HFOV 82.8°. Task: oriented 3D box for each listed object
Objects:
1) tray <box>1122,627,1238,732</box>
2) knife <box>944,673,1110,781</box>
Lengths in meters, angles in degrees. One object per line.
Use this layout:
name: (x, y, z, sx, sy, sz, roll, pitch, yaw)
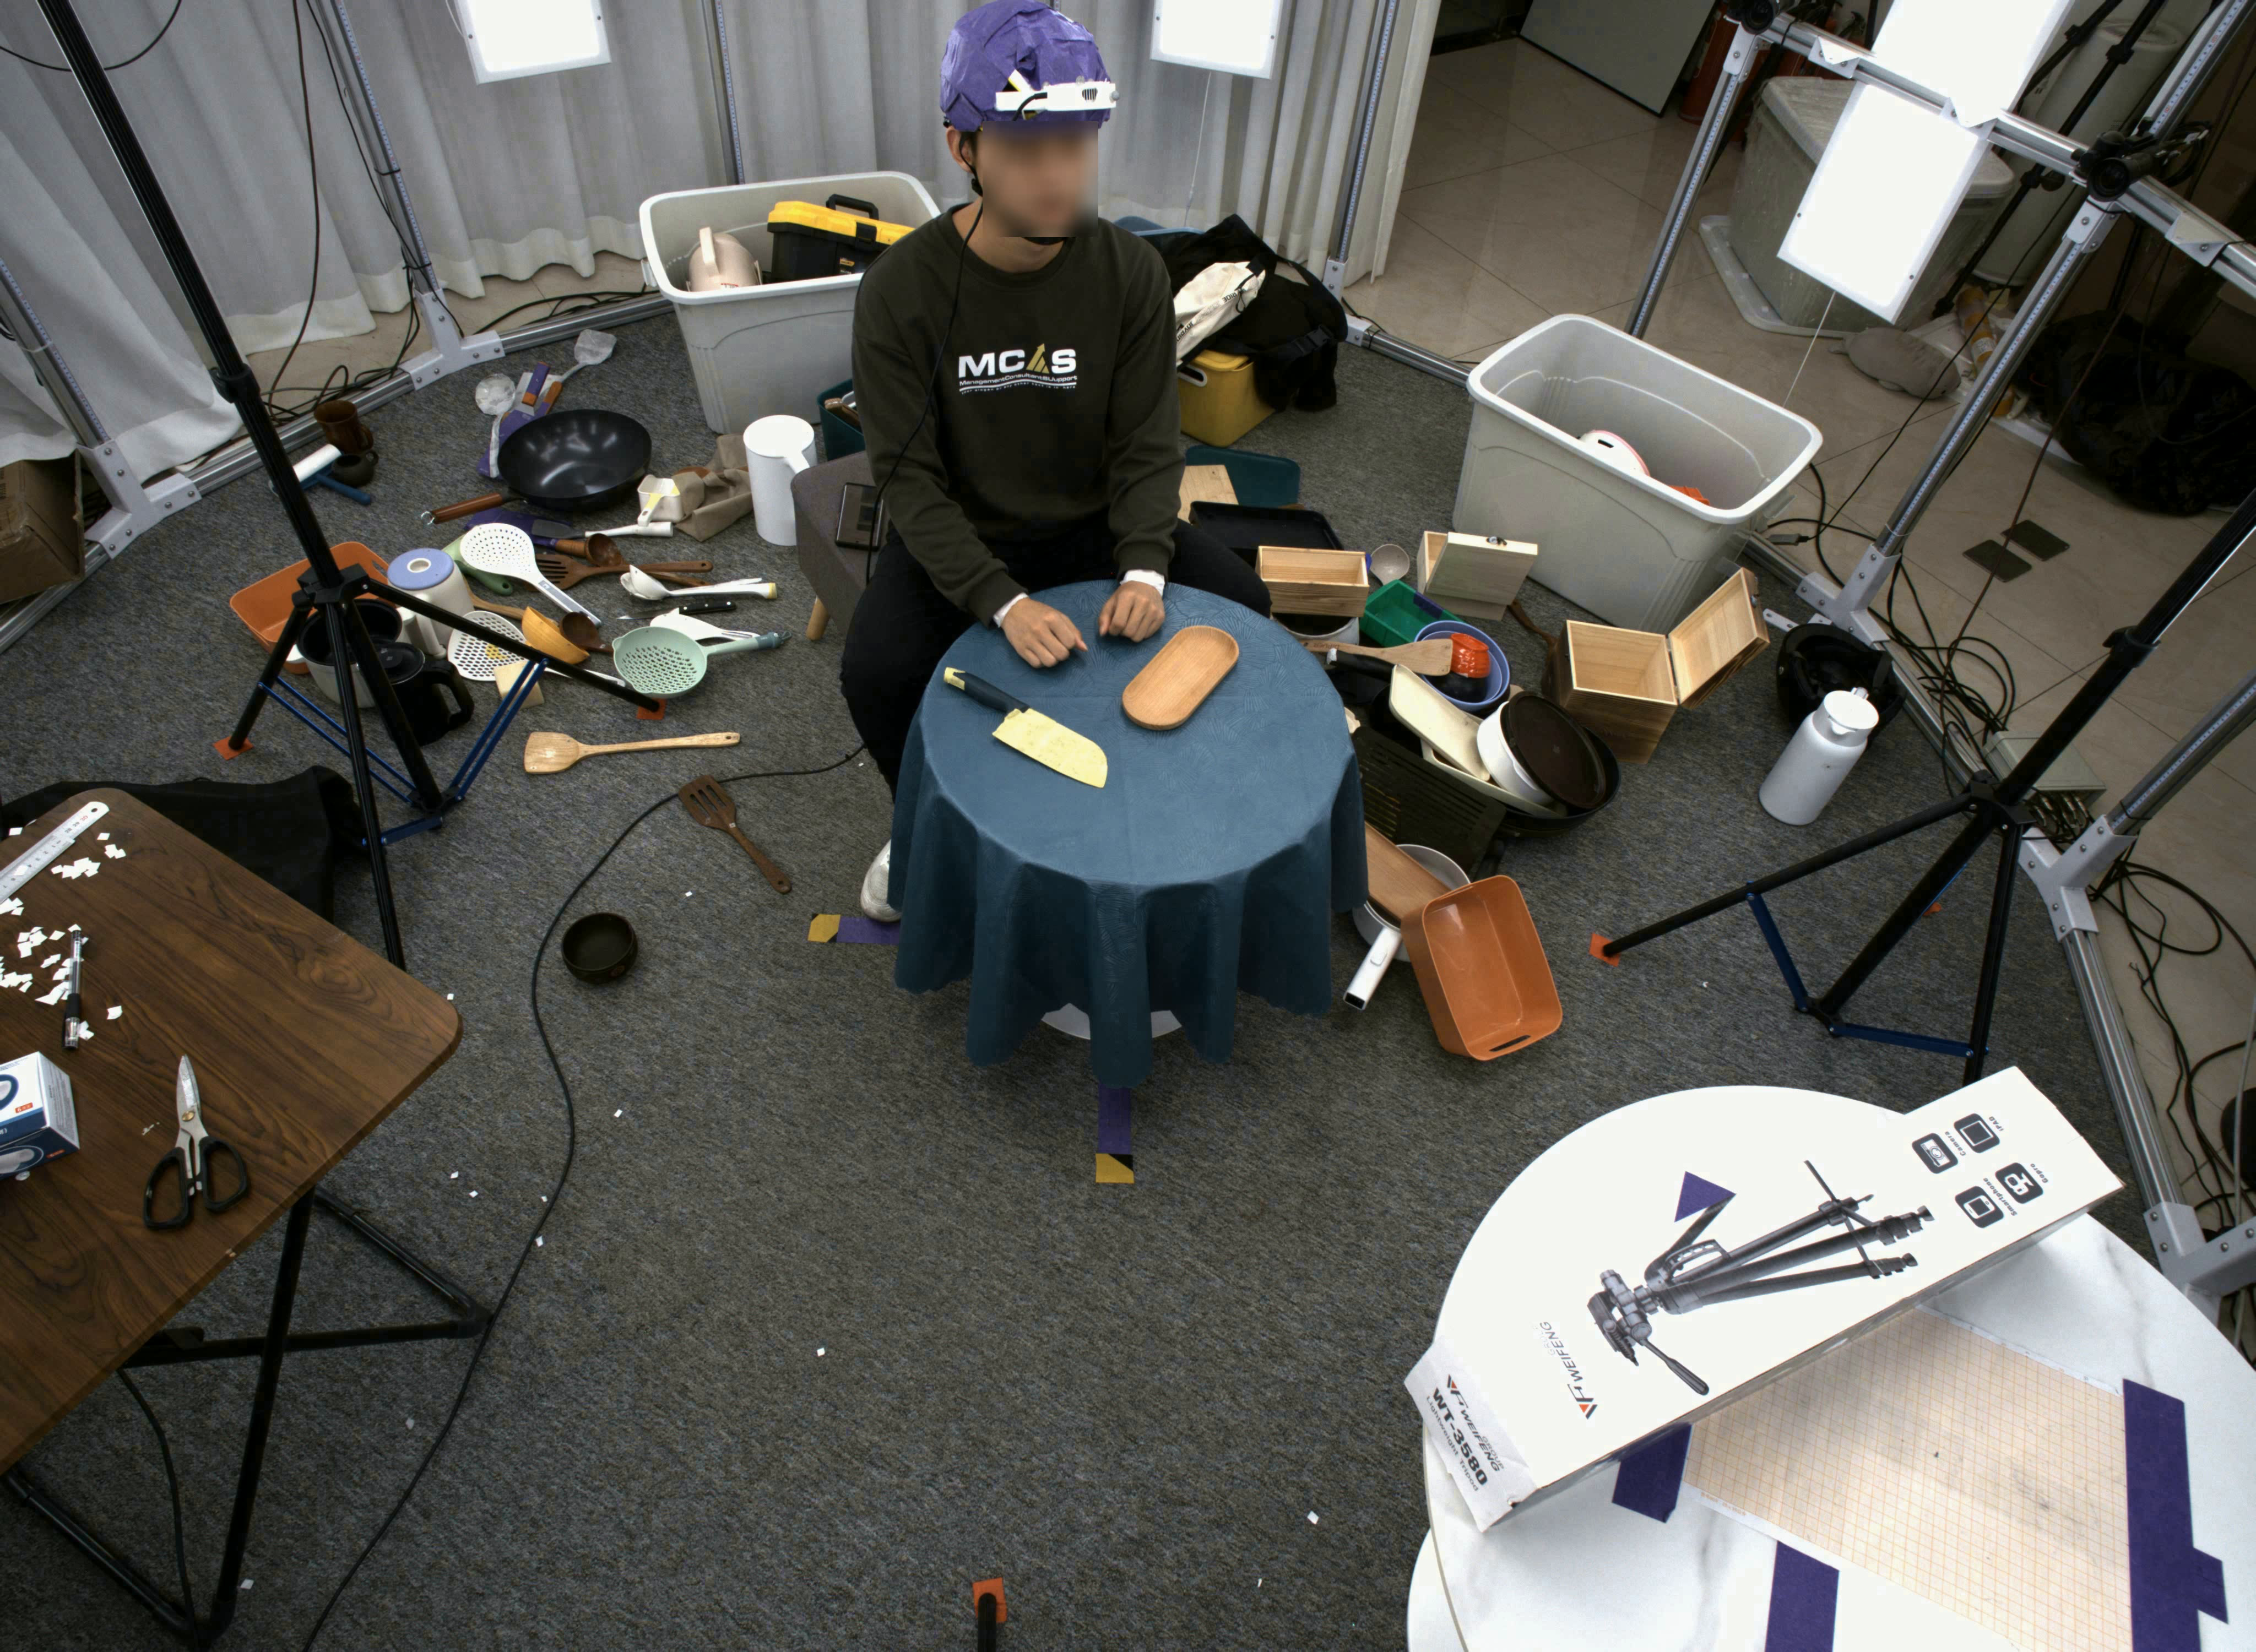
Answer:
tray: (0.077, -0.213, 1.847, 0.102, 0.020, 0.234, 26, 53, 19)
knife: (-0.145, -0.136, 1.766, 0.292, 0.026, 0.082, 30, 52, 20)
